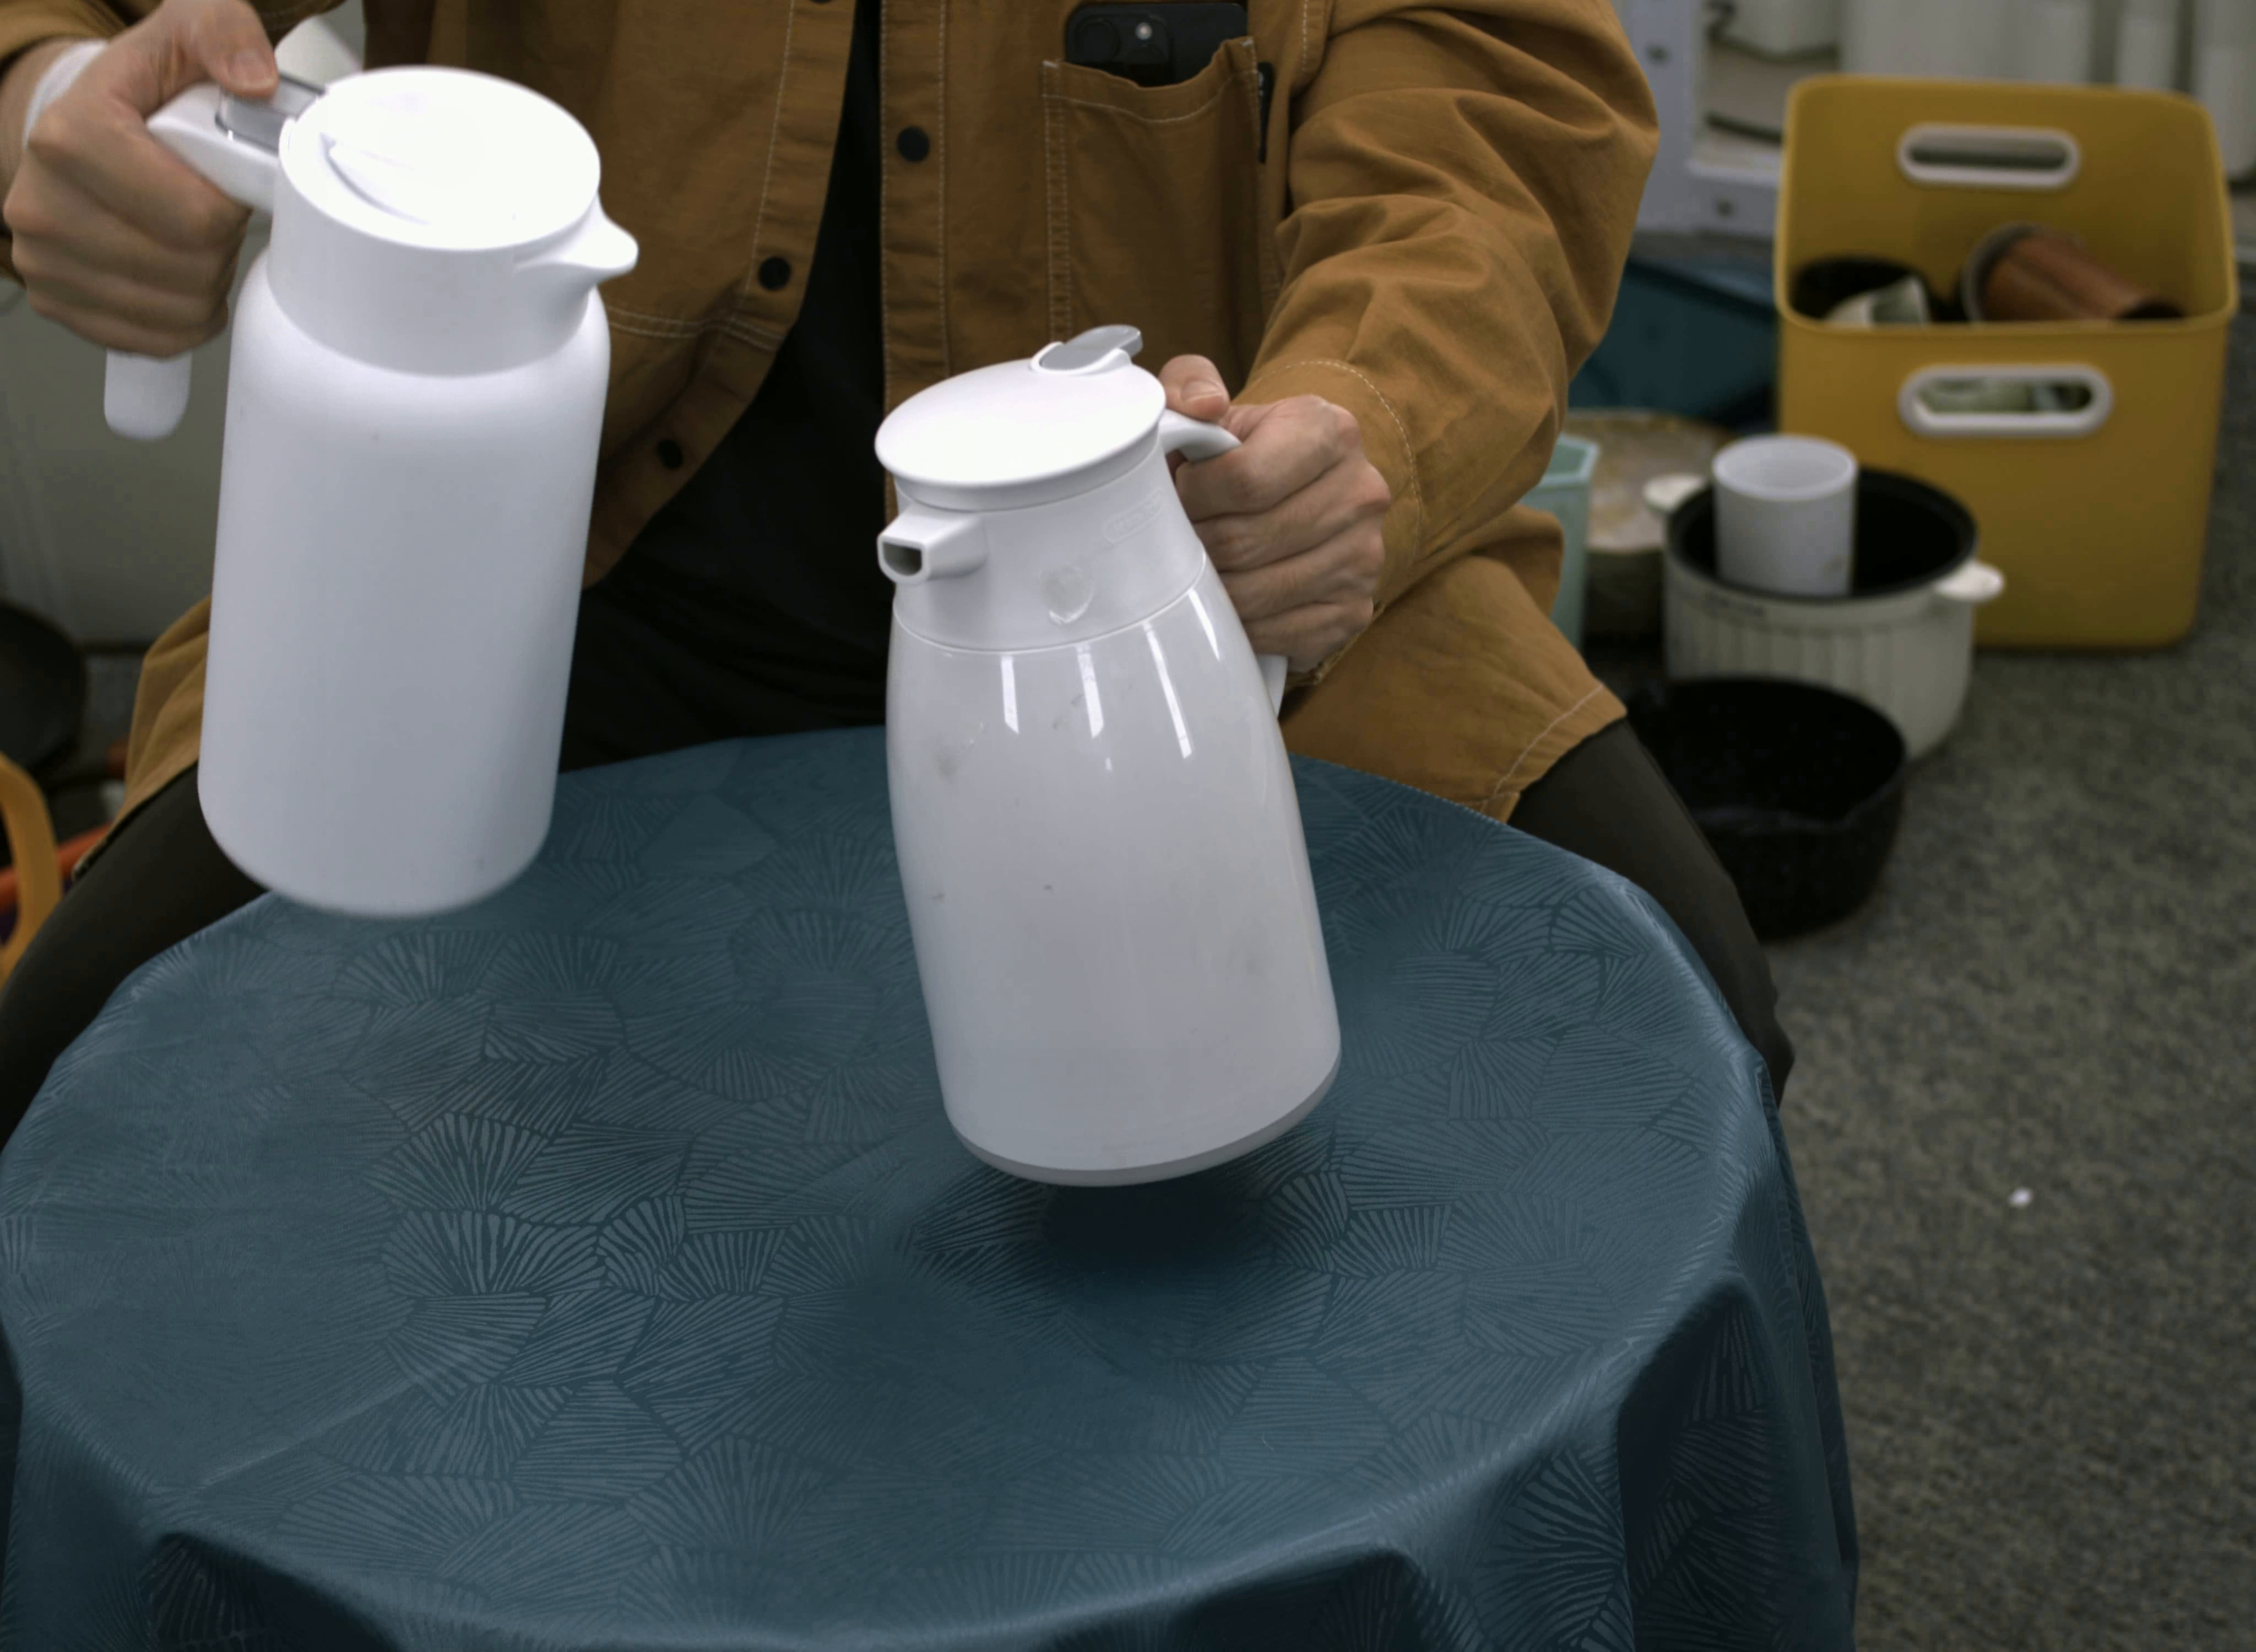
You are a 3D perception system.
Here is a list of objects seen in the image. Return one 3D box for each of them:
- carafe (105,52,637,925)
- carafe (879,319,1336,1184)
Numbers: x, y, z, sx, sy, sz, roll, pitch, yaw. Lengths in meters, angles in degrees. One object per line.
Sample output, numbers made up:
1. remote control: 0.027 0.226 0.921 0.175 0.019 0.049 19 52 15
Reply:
1. carafe: -0.246 -0.108 1.792 0.172 0.264 0.126 21 40 13
2. carafe: -0.005 -0.034 1.798 0.131 0.246 0.170 10 31 36
